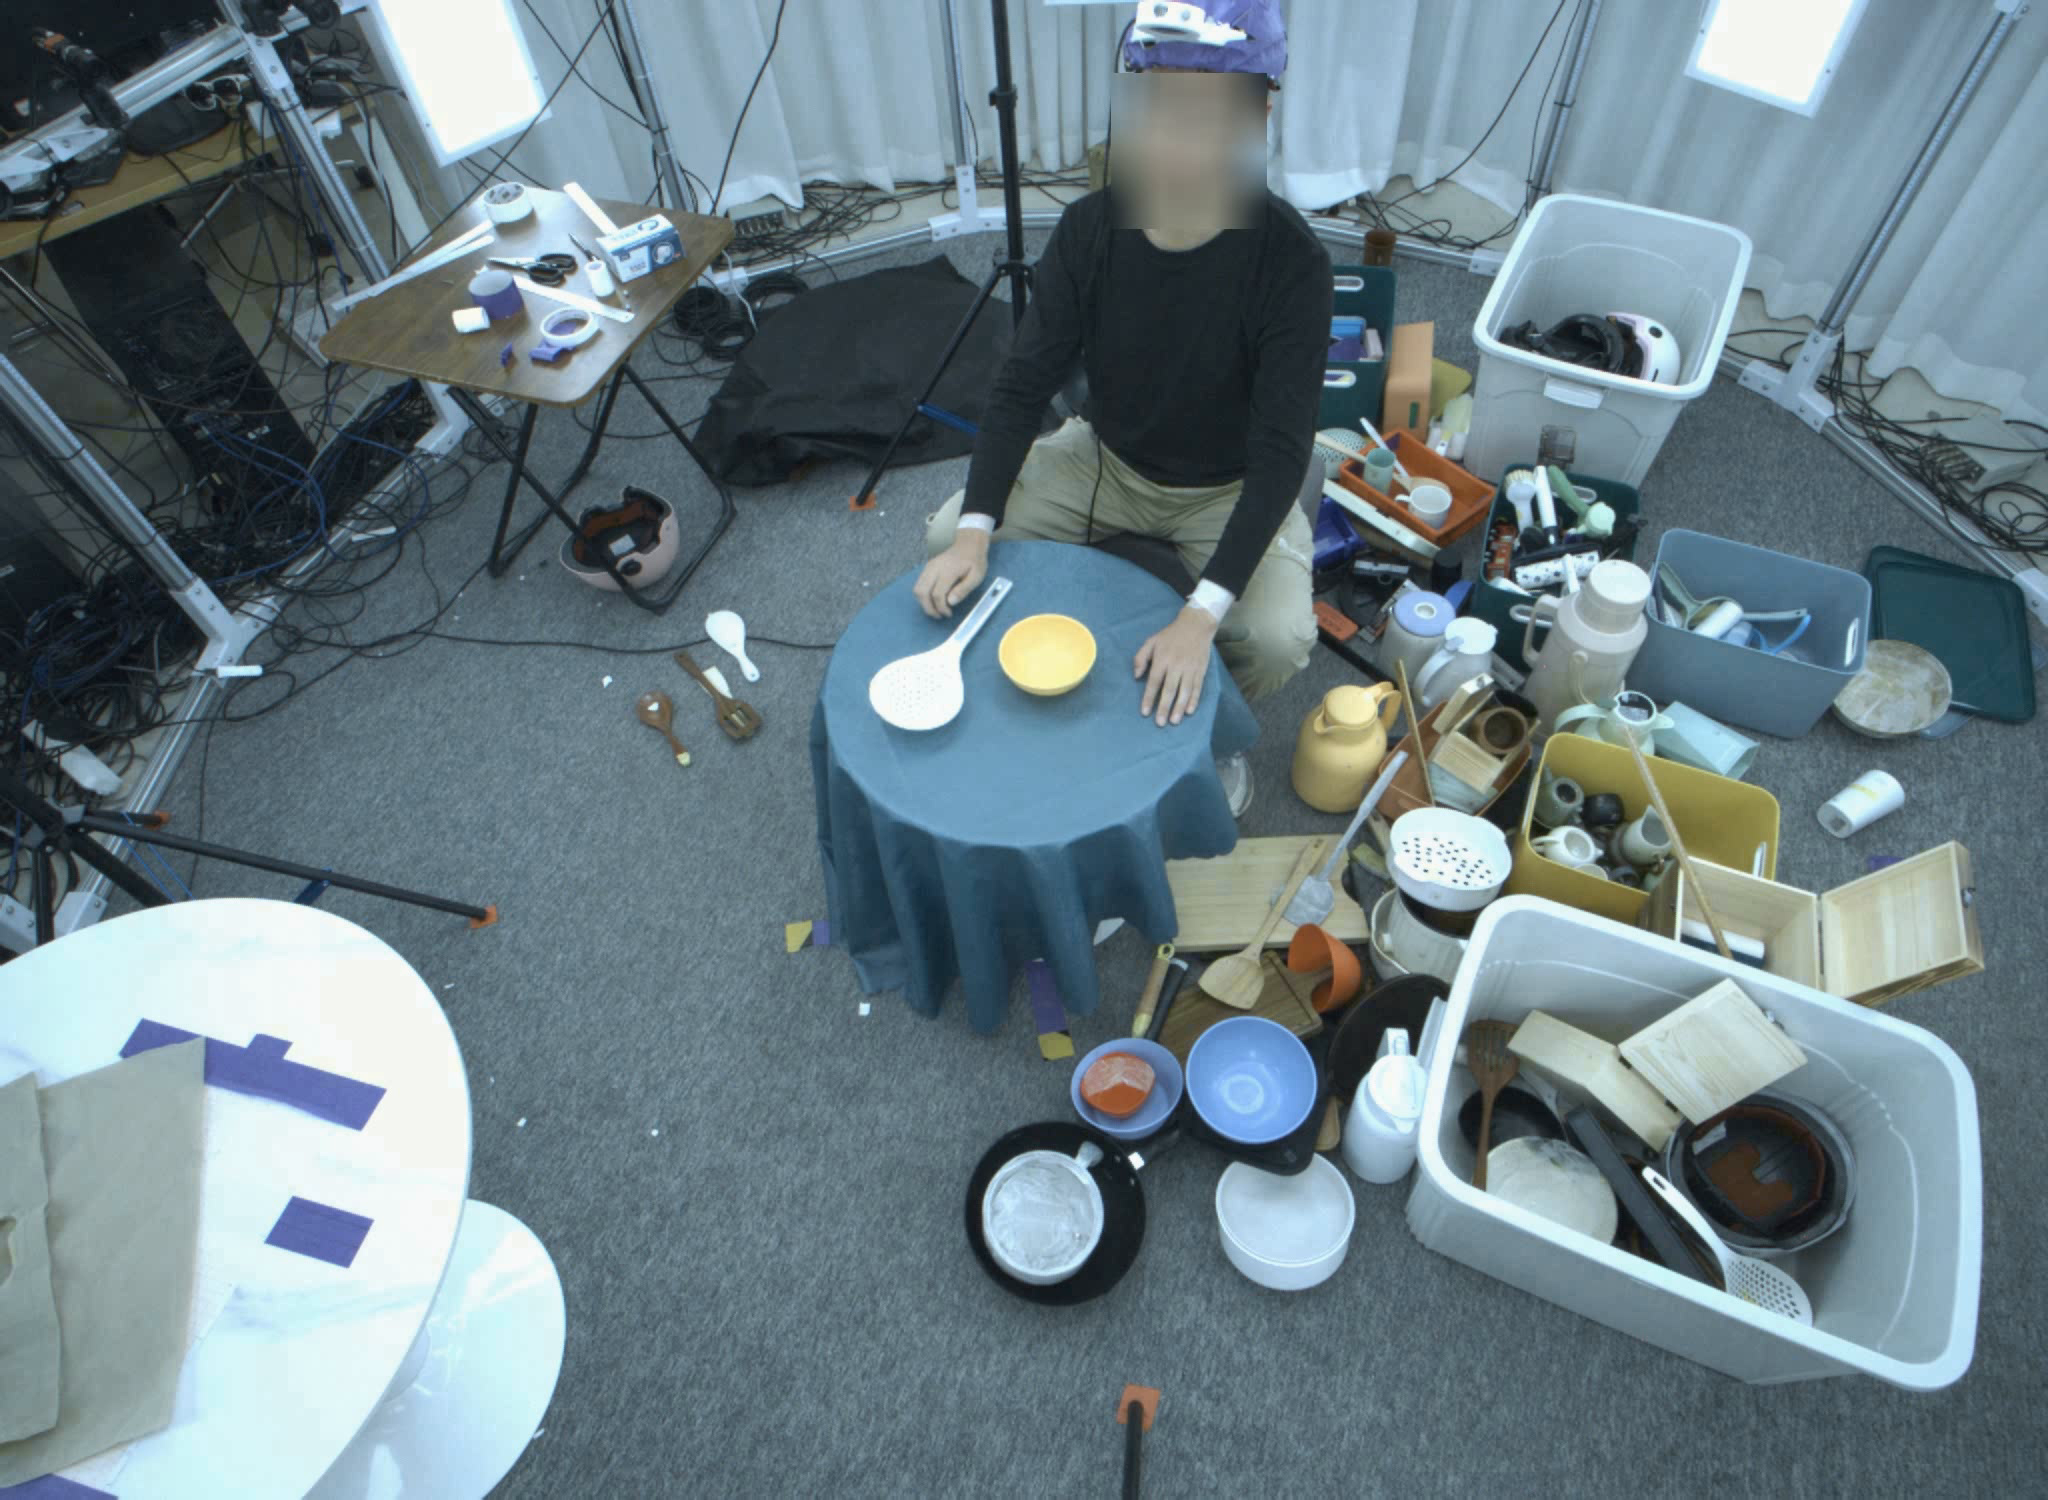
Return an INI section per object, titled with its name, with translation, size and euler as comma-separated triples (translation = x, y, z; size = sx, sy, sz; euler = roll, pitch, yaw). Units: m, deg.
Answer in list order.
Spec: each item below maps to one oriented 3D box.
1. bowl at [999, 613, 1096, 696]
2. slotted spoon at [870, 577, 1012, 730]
[bowl]
translation = 0.035, -0.132, 1.846
size = 0.145, 0.061, 0.144
euler = 0, 56, 1
[slotted spoon]
translation = -0.111, -0.153, 1.871
size = 0.135, 0.046, 0.350
euler = 25, 58, 11
